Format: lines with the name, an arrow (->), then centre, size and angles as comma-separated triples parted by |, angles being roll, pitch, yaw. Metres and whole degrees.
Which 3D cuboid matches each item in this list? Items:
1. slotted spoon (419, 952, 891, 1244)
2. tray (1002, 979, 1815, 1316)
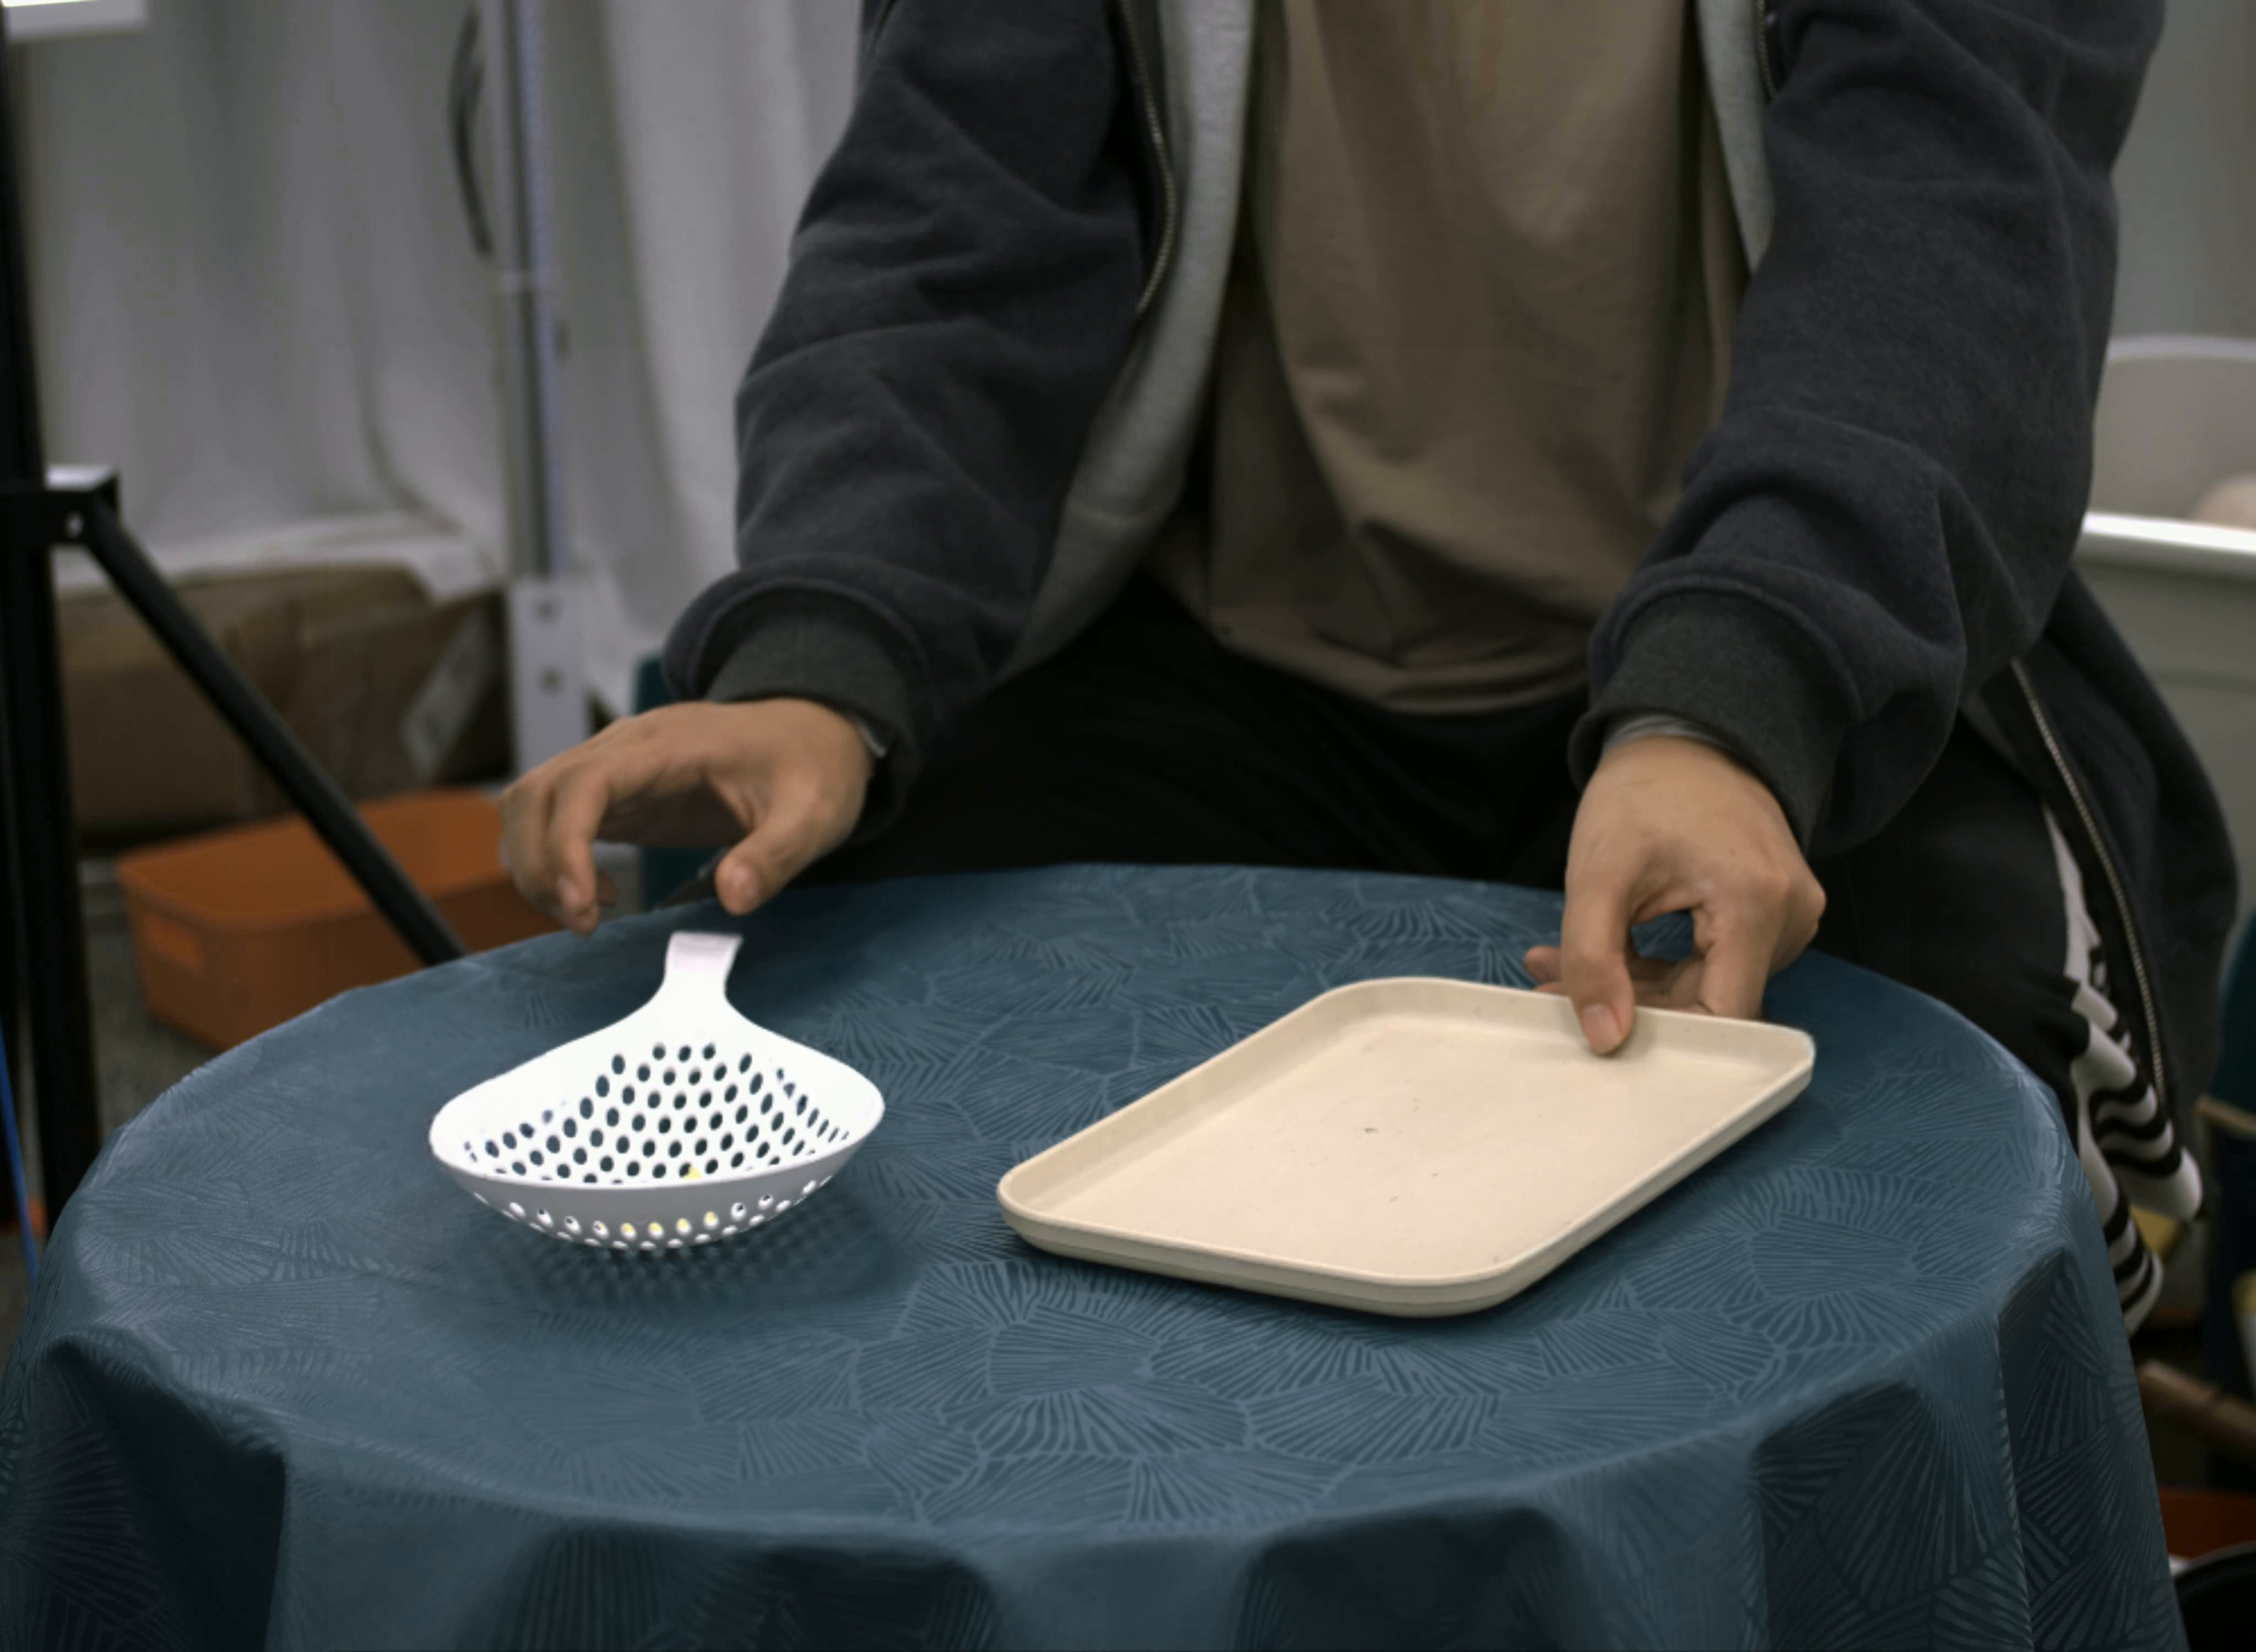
slotted spoon -> -0.137, 0.070, 1.646 | 0.136, 0.050, 0.349 | -6, 15, 0
tray -> 0.086, 0.093, 1.562 | 0.174, 0.017, 0.235 | 7, 19, 33
